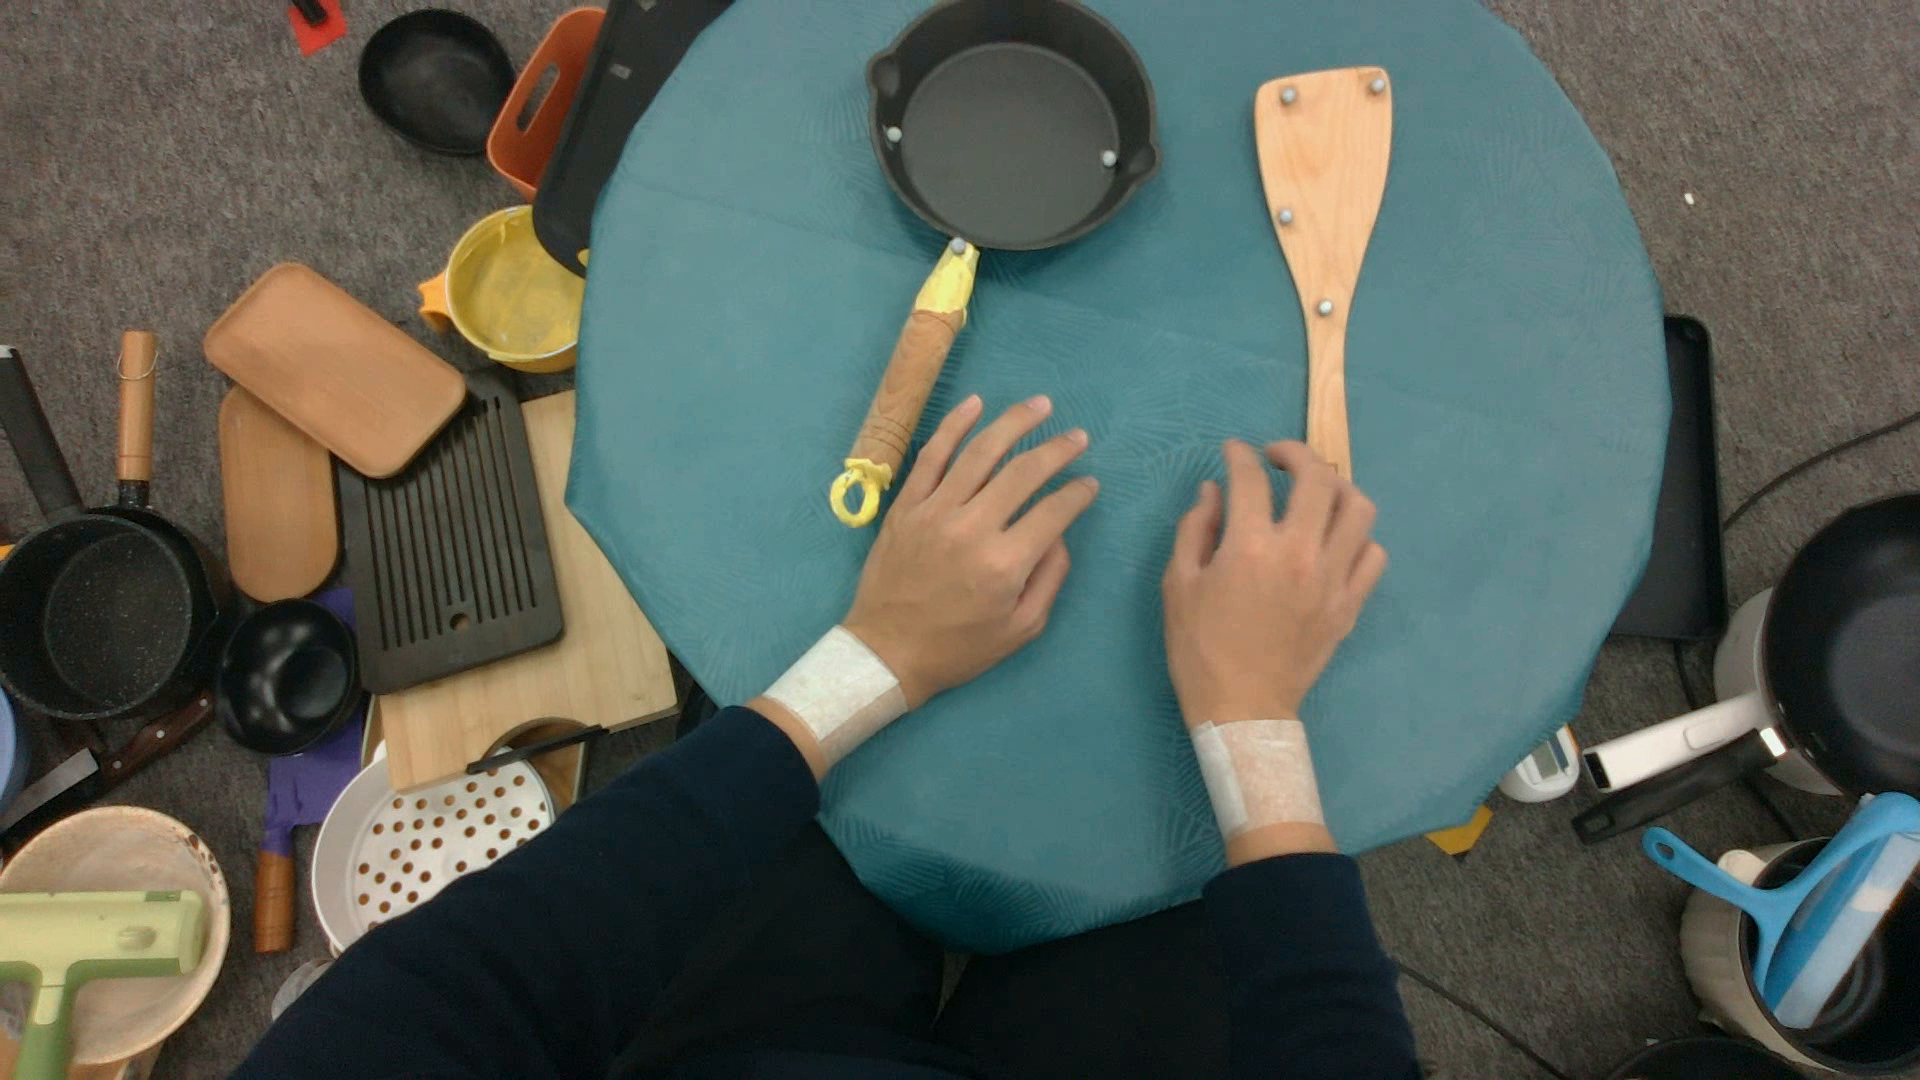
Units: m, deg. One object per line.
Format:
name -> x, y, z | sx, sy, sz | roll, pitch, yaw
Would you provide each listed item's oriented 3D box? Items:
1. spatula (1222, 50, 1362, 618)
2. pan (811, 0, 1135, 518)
spatula -> 0.188, -0.119, 0.754 | 0.080, 0.016, 0.328 | 1, 76, -1
pan -> -0.014, -0.158, 0.738 | 0.169, 0.049, 0.325 | 20, 75, 3
